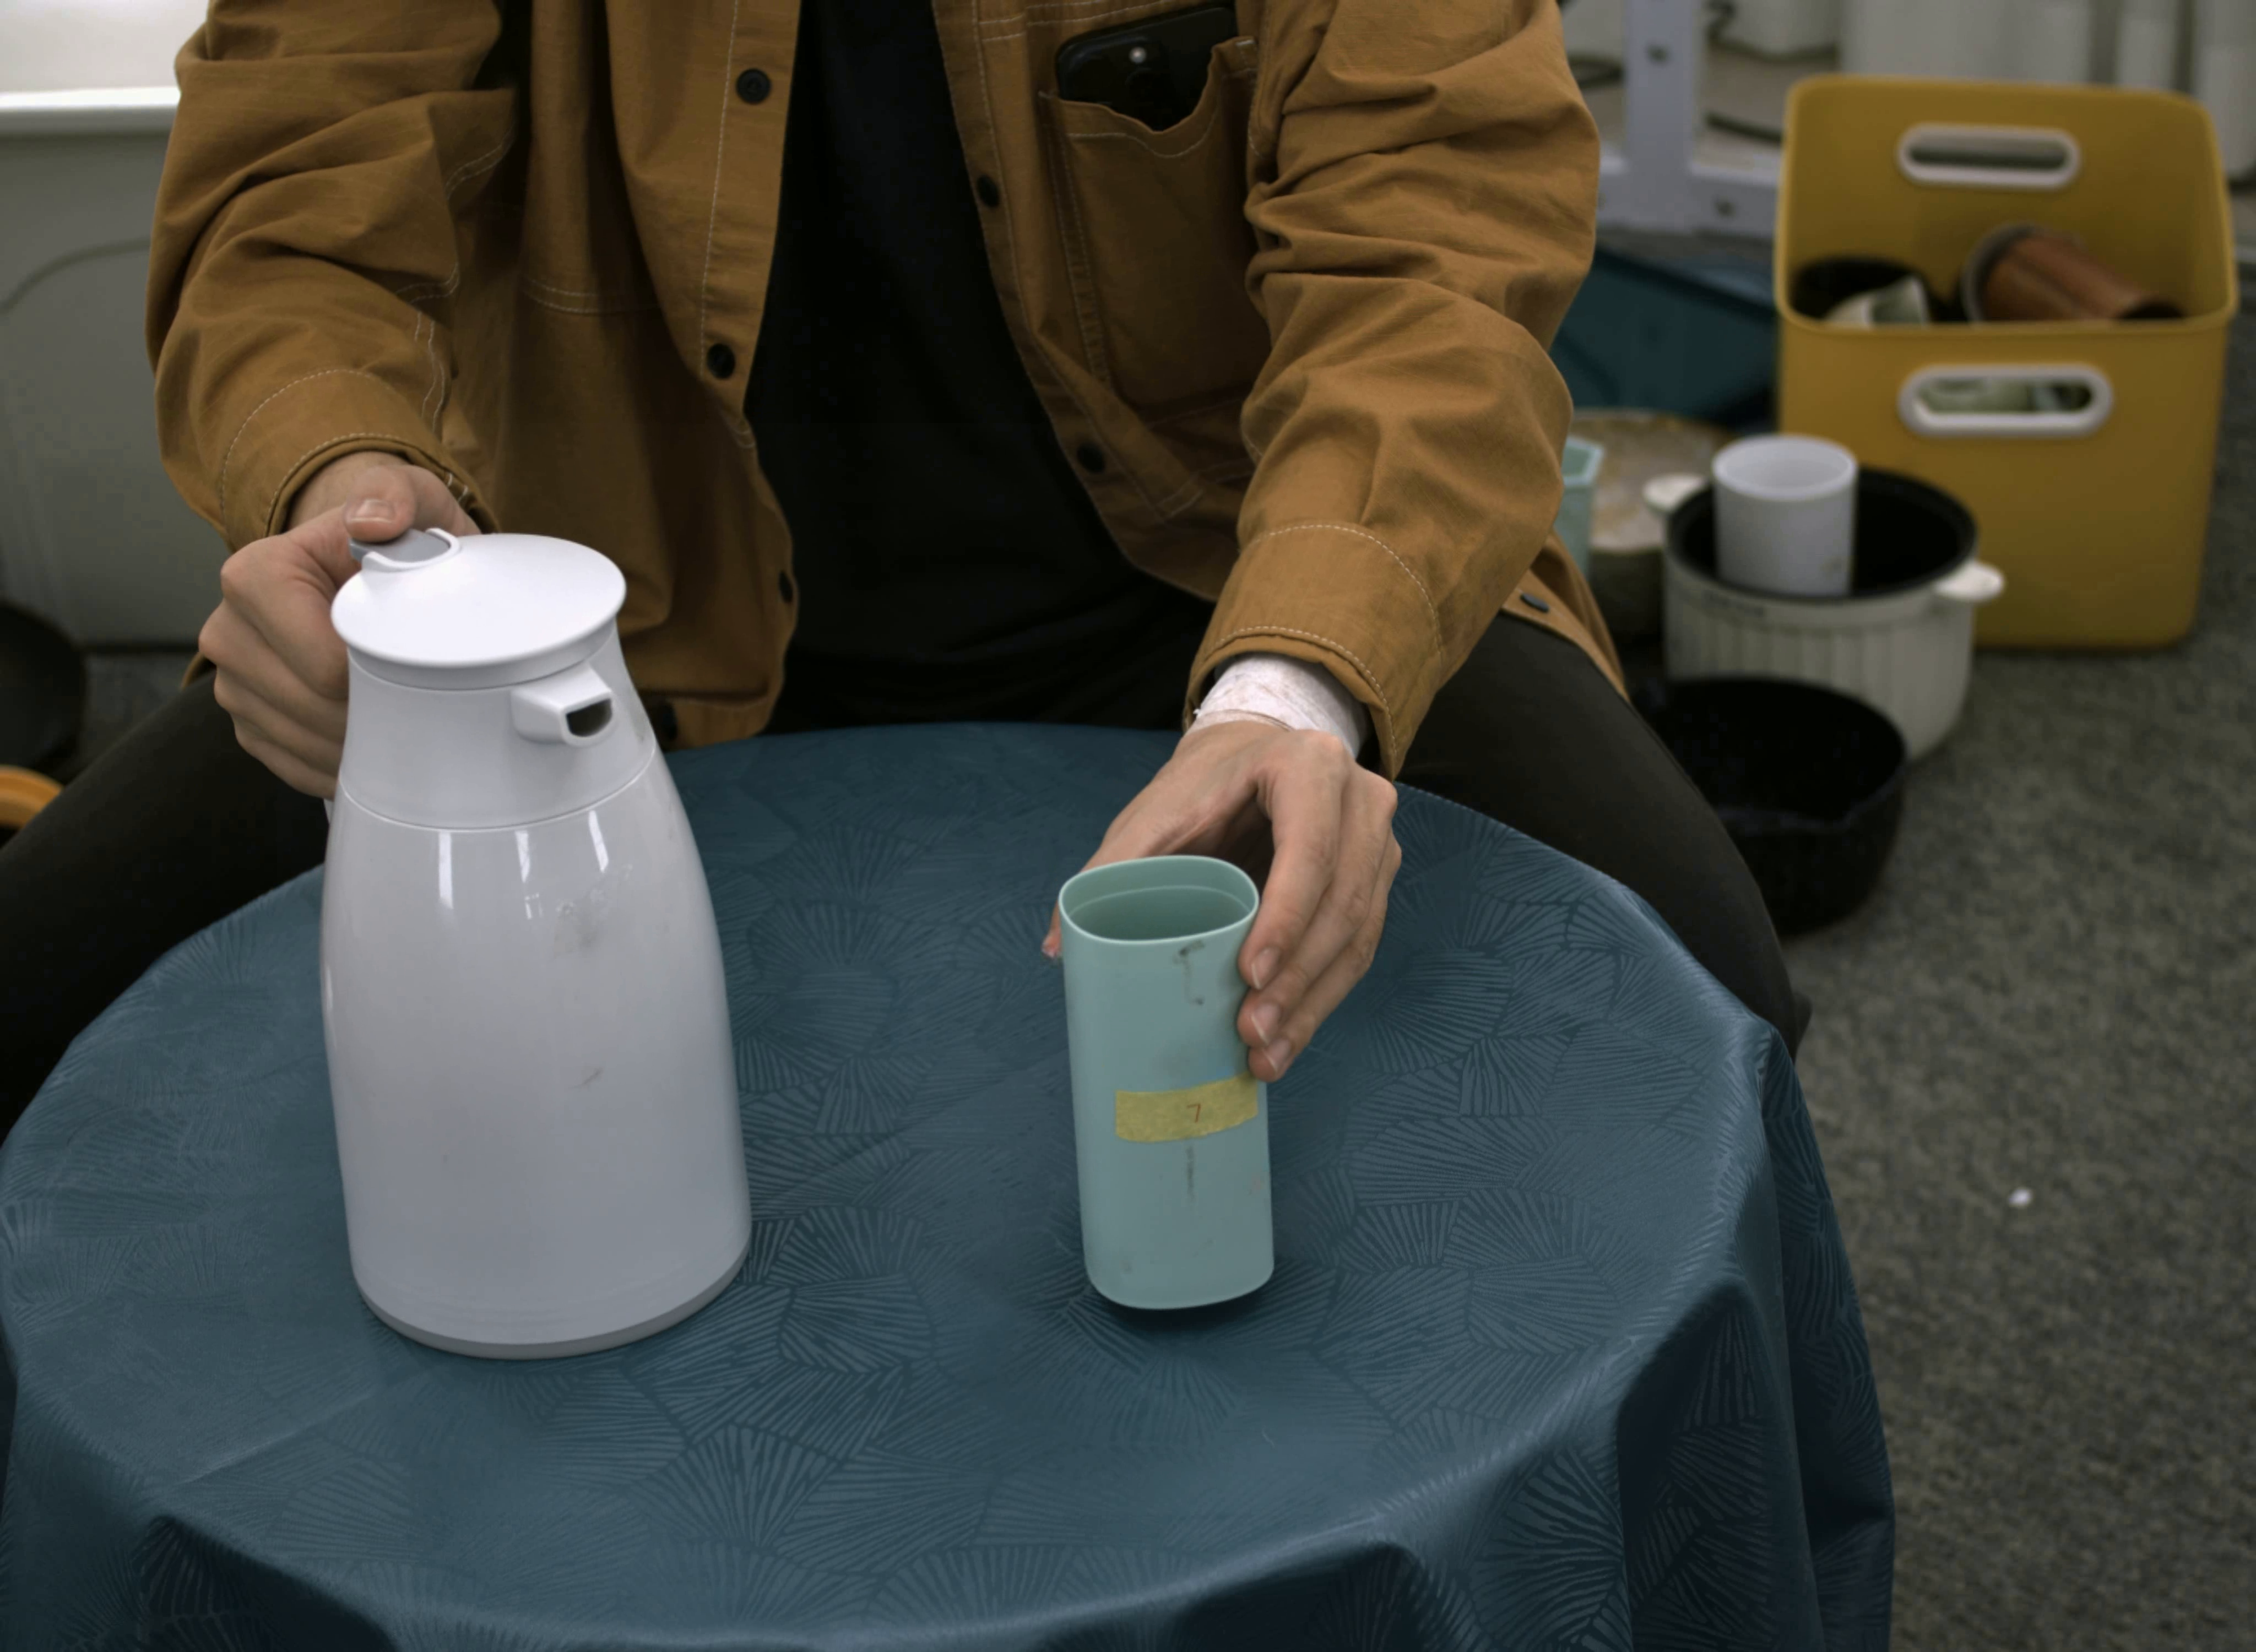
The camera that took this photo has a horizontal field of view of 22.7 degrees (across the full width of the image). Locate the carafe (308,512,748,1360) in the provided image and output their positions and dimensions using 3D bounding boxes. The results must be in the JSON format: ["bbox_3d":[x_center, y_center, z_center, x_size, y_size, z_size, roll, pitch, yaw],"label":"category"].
[{"bbox_3d":[-0.208,0.025,1.800,0.134,0.246,0.168,-22,31,-33],"label":"carafe"}]

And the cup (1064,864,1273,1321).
[{"bbox_3d":[0.013,0.083,1.779,0.066,0.131,0.067,-2,22,1],"label":"cup"}]
